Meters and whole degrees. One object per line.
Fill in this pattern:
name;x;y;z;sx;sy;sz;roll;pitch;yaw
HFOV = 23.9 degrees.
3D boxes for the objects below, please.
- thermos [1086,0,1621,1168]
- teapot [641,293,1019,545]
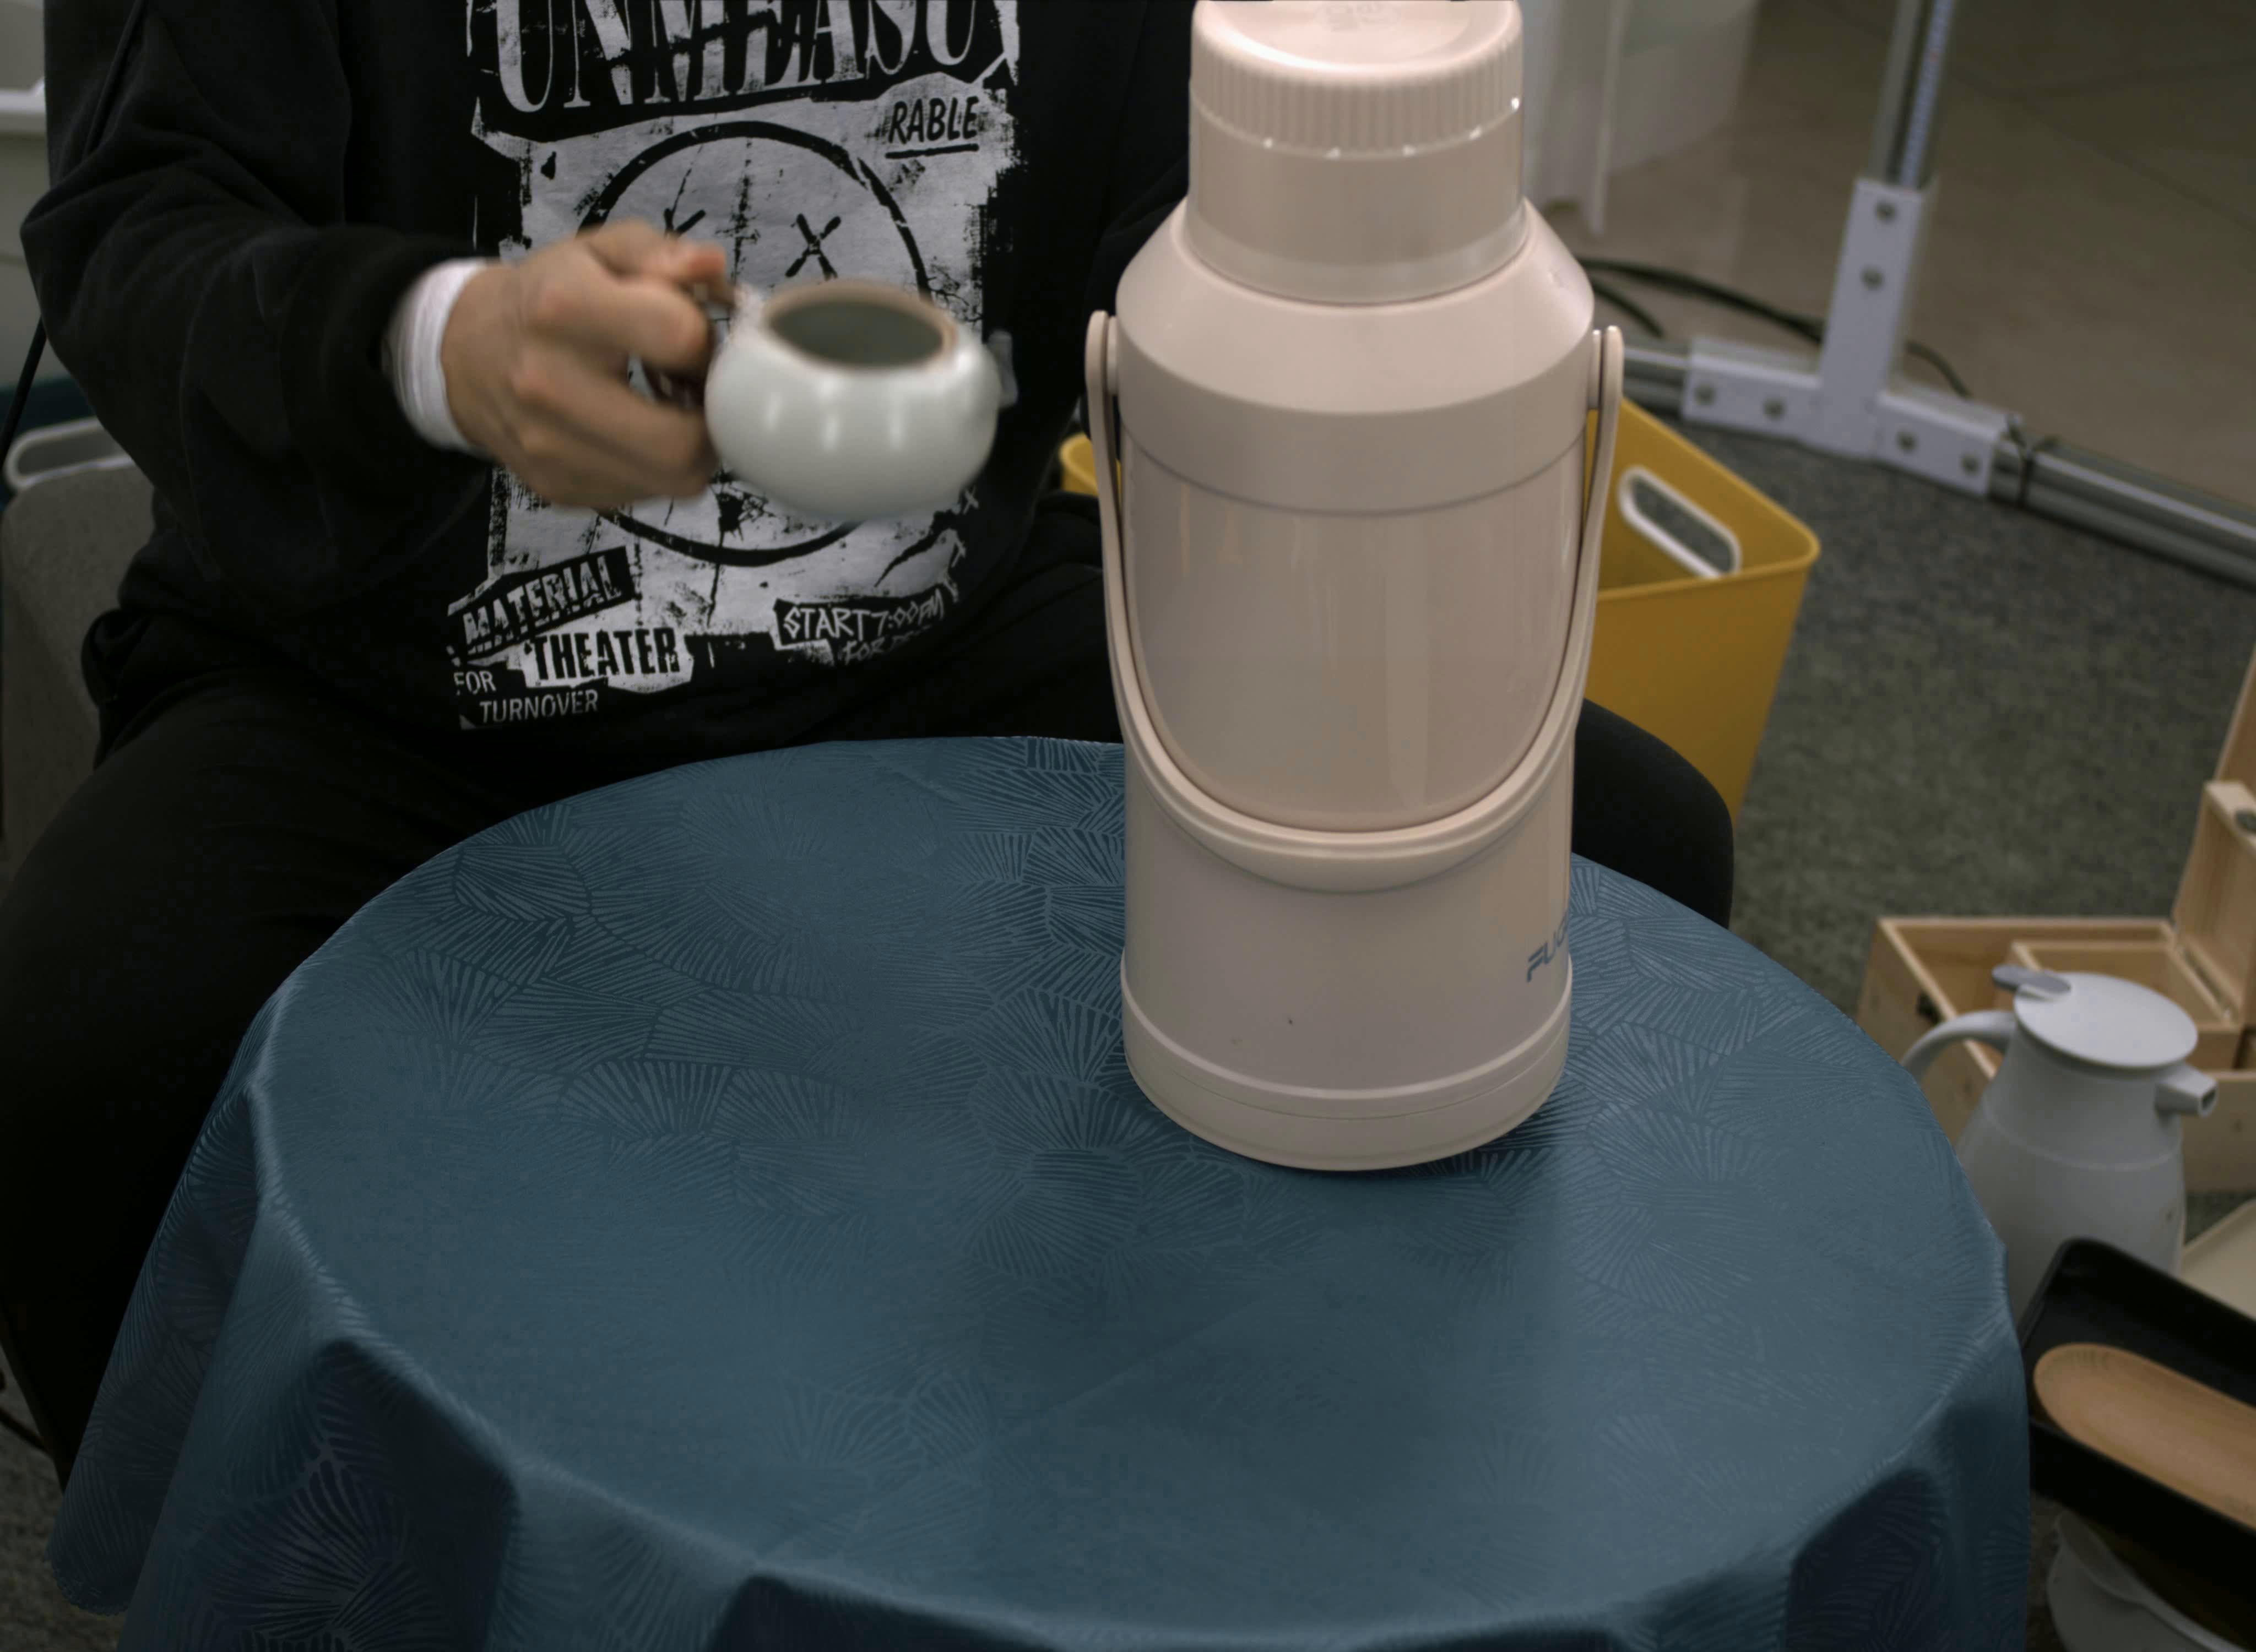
thermos;0.077;-0.098;1.799;0.175;0.404;0.208;1;32;5
teapot;-0.095;-0.130;1.664;0.128;0.059;0.092;19;37;15
